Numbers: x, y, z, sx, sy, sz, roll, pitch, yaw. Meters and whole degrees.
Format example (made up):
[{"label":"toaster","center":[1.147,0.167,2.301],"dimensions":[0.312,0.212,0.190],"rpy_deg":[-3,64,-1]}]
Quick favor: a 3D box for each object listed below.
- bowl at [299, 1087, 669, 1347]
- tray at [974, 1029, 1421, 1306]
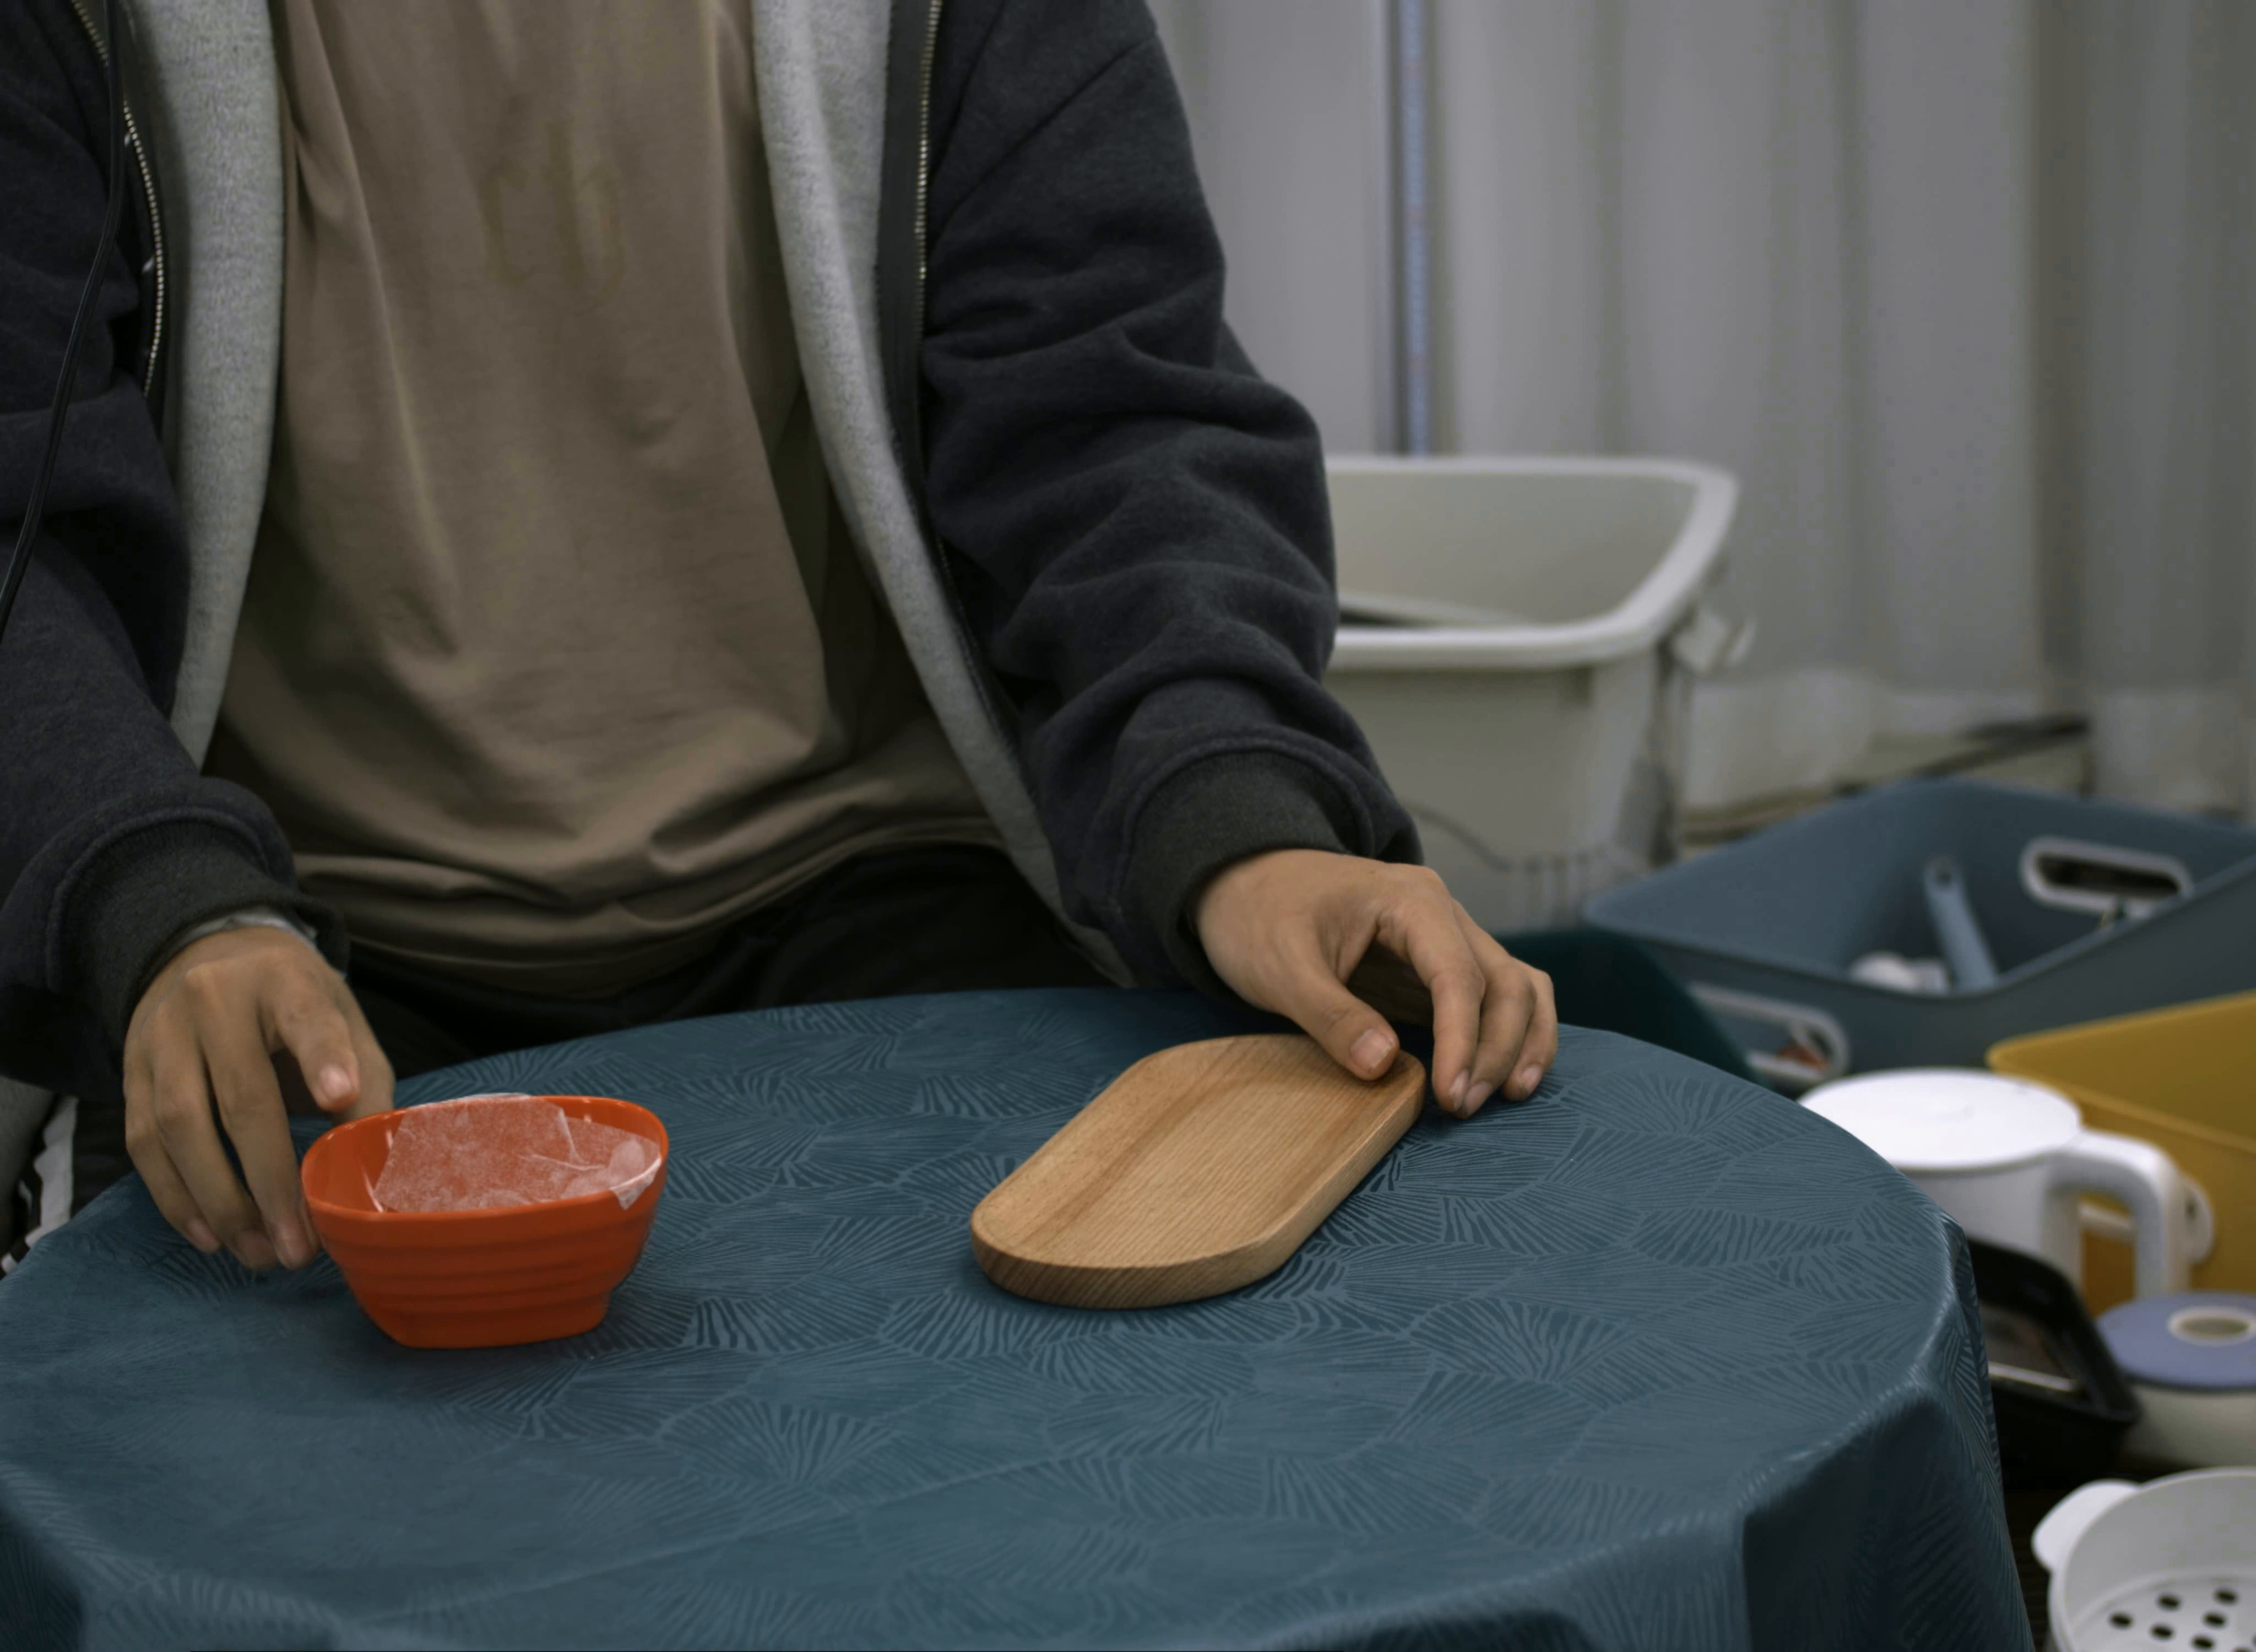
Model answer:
[{"label":"bowl","center":[-0.190,0.119,1.633],"dimensions":[0.118,0.051,0.120],"rpy_deg":[-4,16,1]},{"label":"tray","center":[0.024,0.105,1.716],"dimensions":[0.102,0.020,0.232],"rpy_deg":[3,15,18]}]
